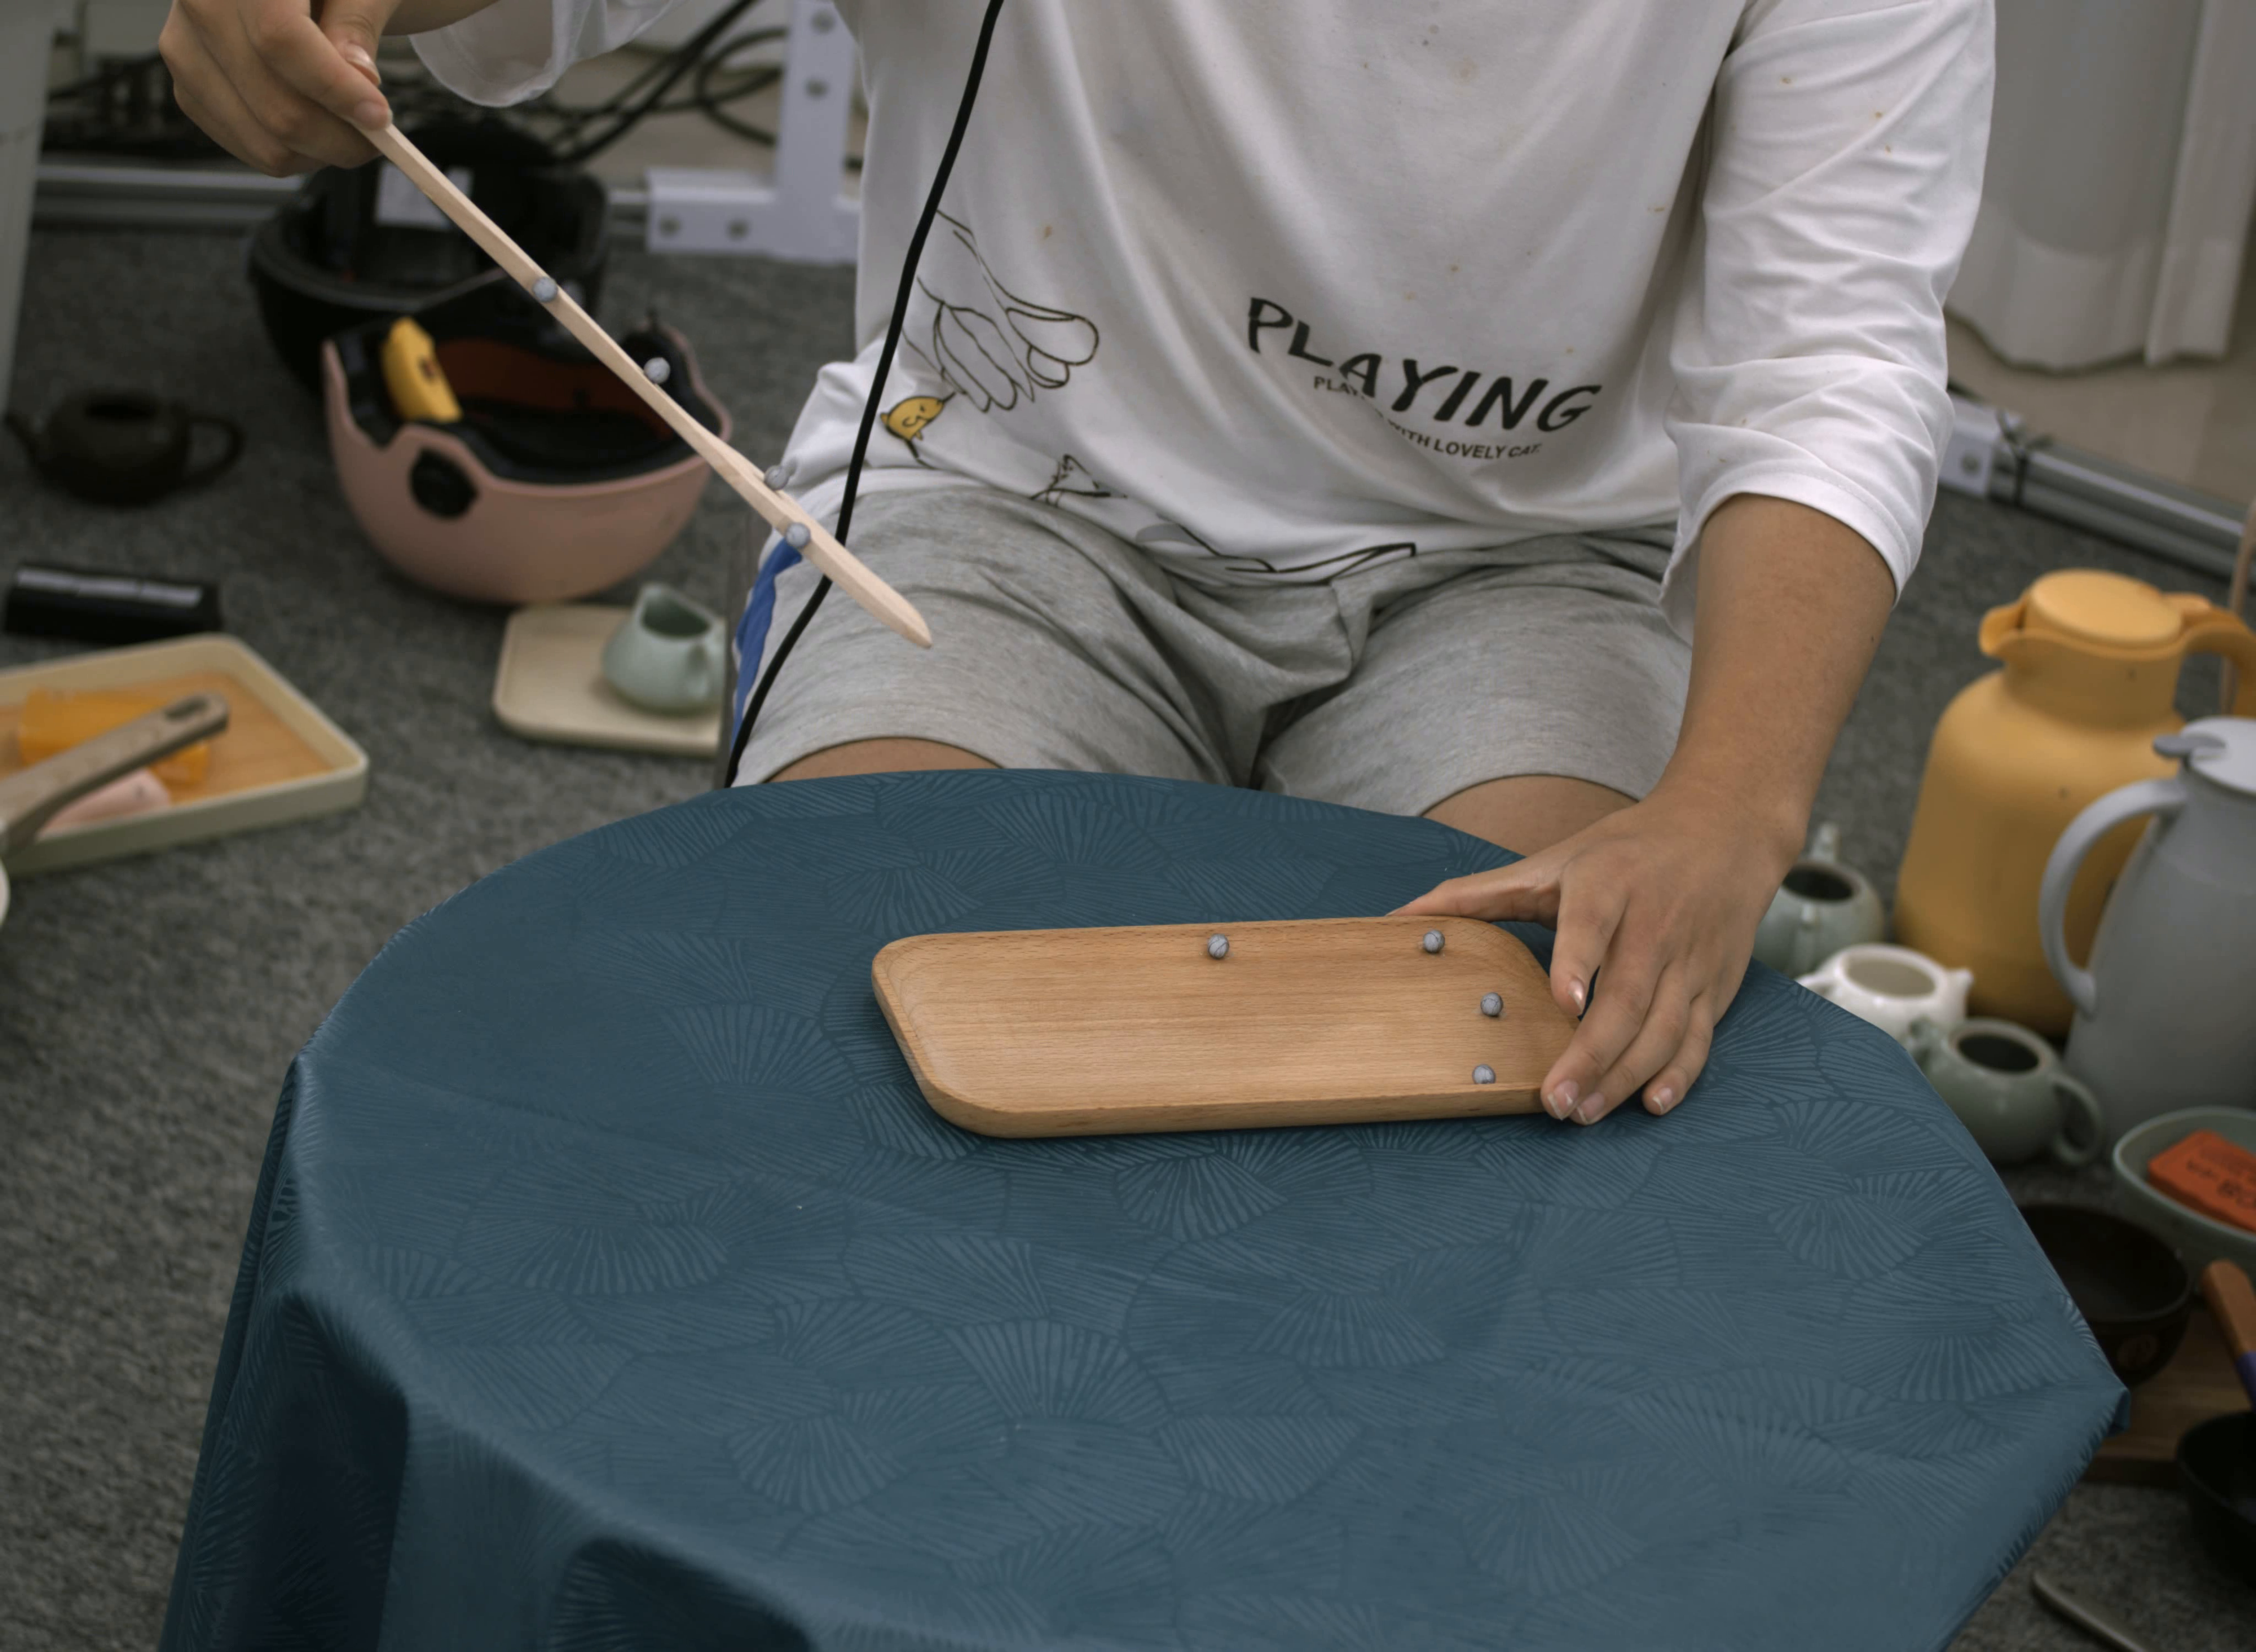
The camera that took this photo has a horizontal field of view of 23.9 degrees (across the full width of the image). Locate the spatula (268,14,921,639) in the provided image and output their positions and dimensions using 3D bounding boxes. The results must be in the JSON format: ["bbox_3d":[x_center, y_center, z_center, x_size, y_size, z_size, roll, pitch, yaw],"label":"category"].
[{"bbox_3d":[-0.176,-0.164,1.762,0.292,0.010,0.072,44,5,-12],"label":"spatula"}]

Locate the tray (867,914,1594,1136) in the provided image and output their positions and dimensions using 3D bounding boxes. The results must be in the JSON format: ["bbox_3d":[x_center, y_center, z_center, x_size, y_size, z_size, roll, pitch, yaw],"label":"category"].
[{"bbox_3d":[0.036,0.071,1.902,0.249,0.023,0.131,-2,25,-15],"label":"tray"}]
